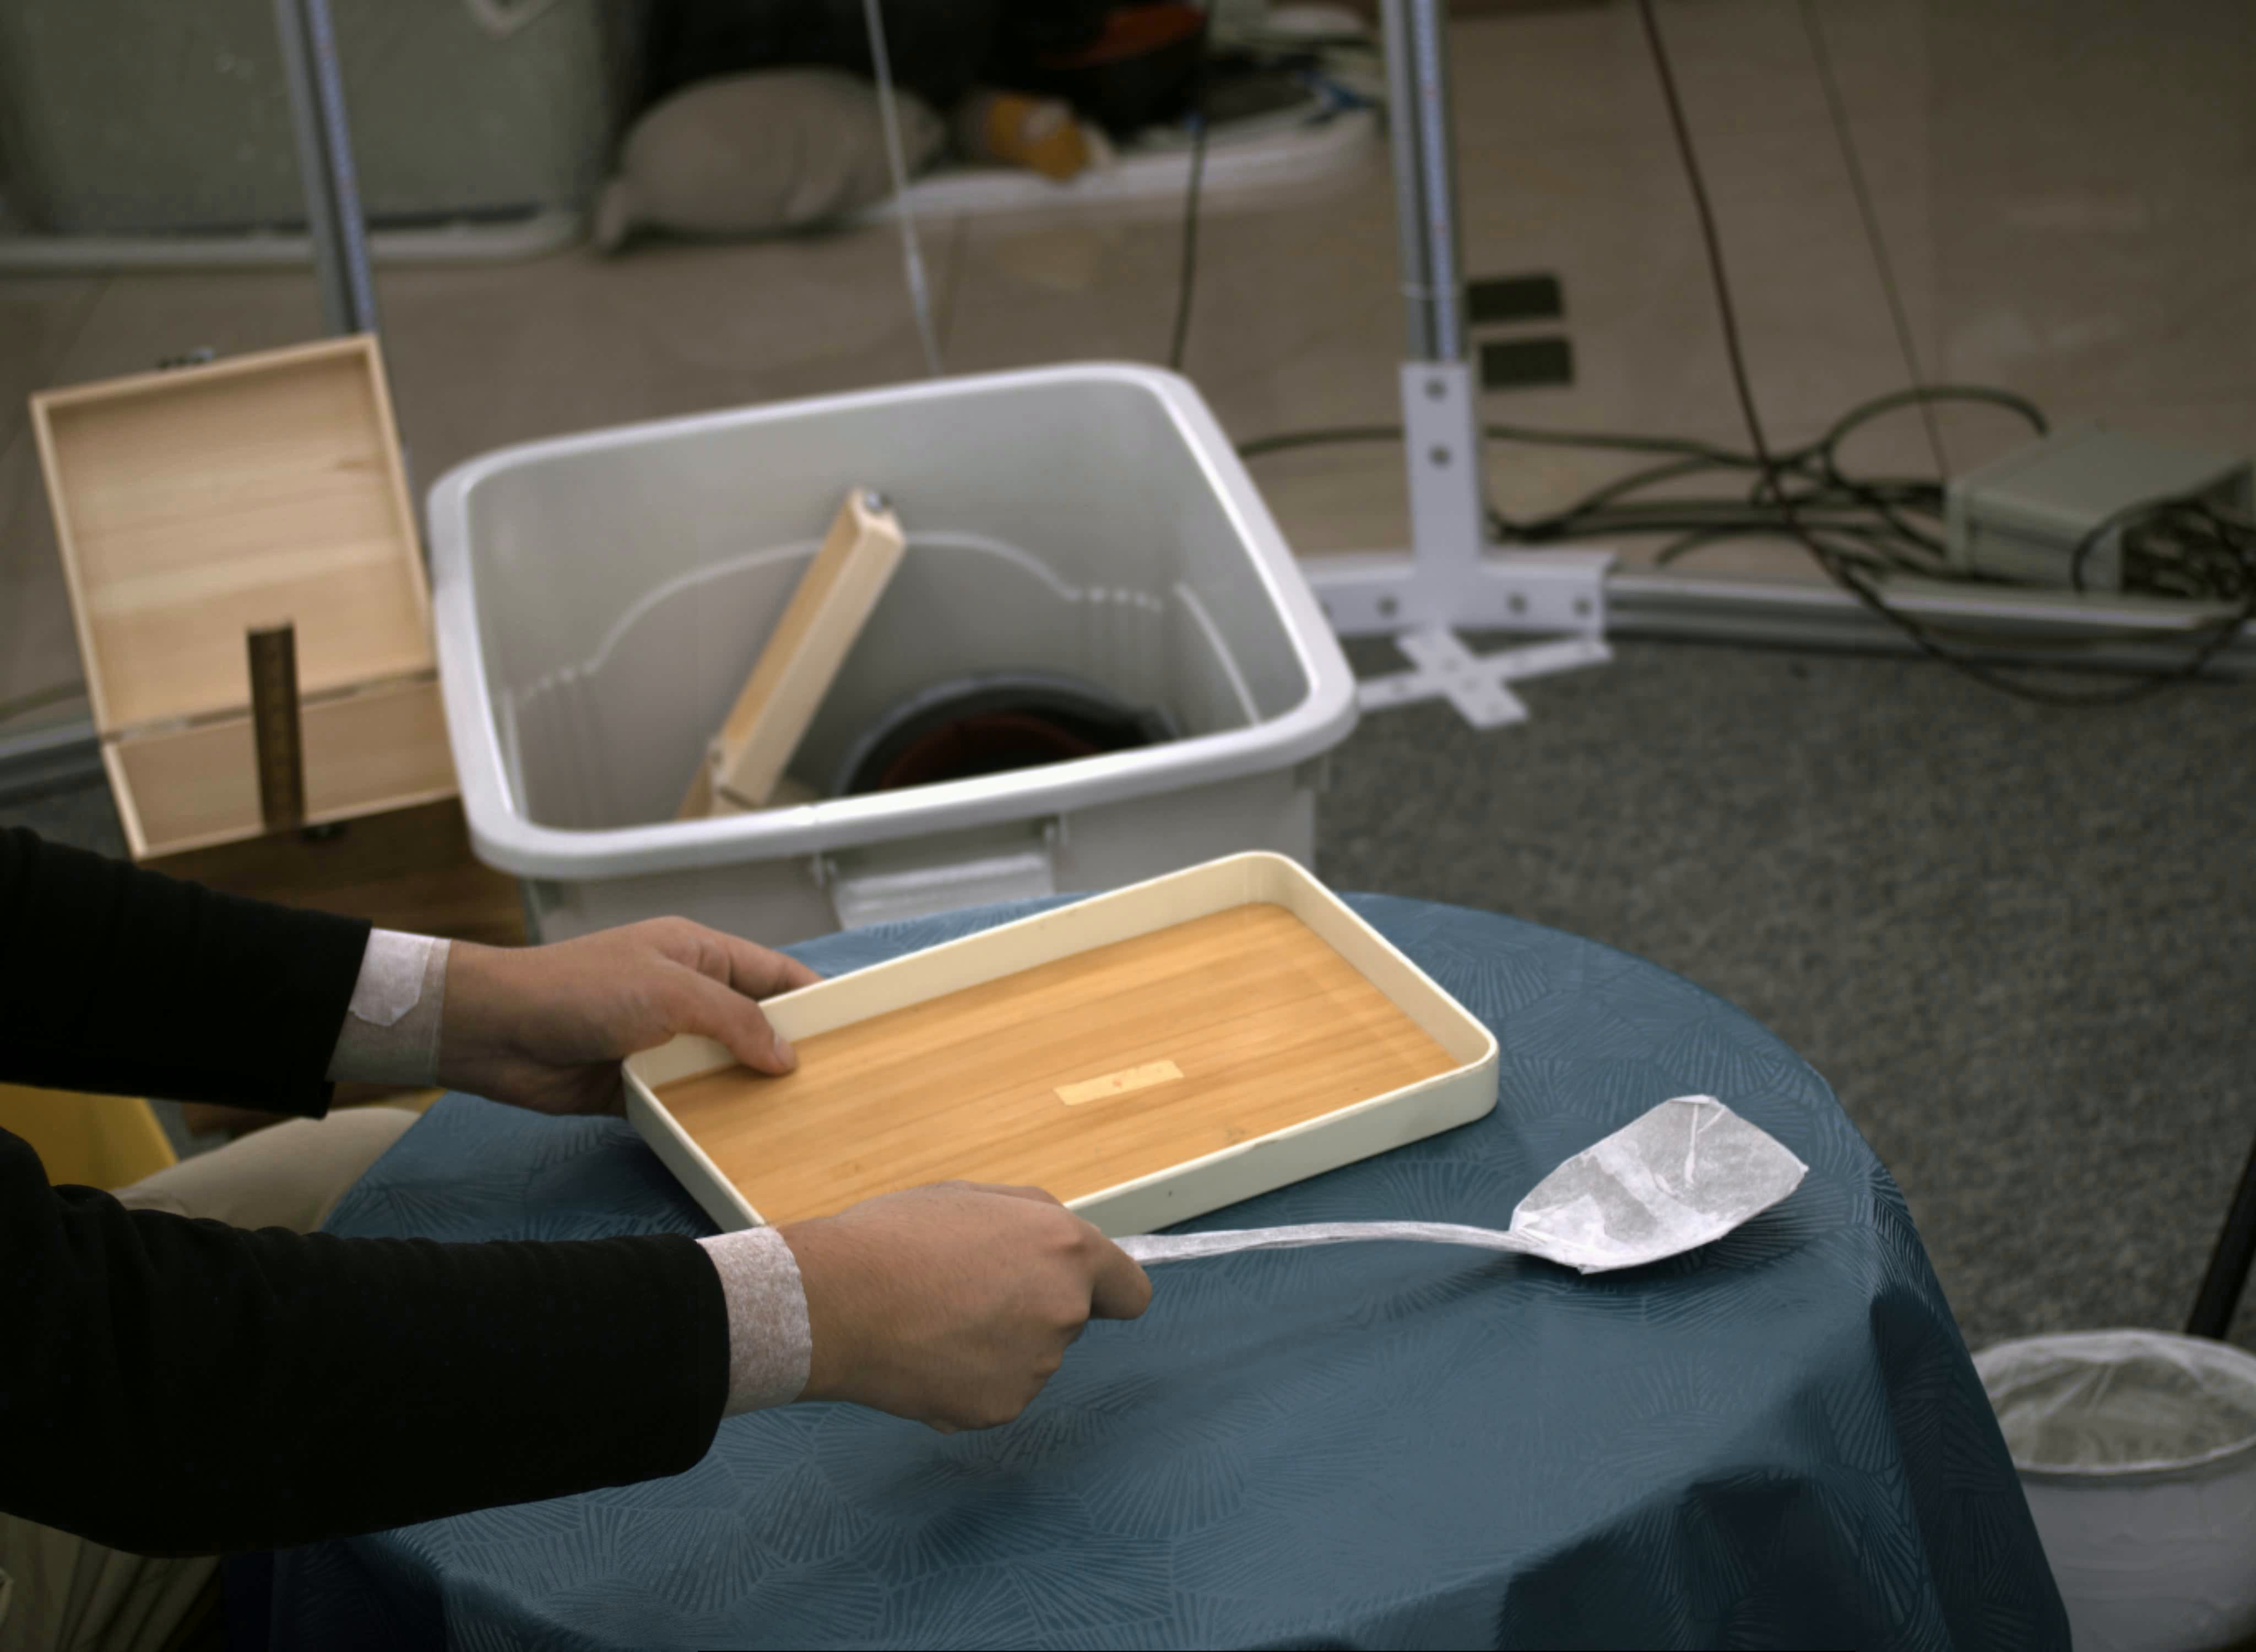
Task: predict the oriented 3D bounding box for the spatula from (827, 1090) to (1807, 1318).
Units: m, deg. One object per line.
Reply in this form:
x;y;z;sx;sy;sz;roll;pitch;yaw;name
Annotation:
0.069;0.142;2.032;0.364;0.045;0.097;-4;21;-22;spatula

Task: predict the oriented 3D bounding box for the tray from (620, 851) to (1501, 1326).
-0.026;0.097;2.184;0.299;0.028;0.189;-17;33;-23;tray
